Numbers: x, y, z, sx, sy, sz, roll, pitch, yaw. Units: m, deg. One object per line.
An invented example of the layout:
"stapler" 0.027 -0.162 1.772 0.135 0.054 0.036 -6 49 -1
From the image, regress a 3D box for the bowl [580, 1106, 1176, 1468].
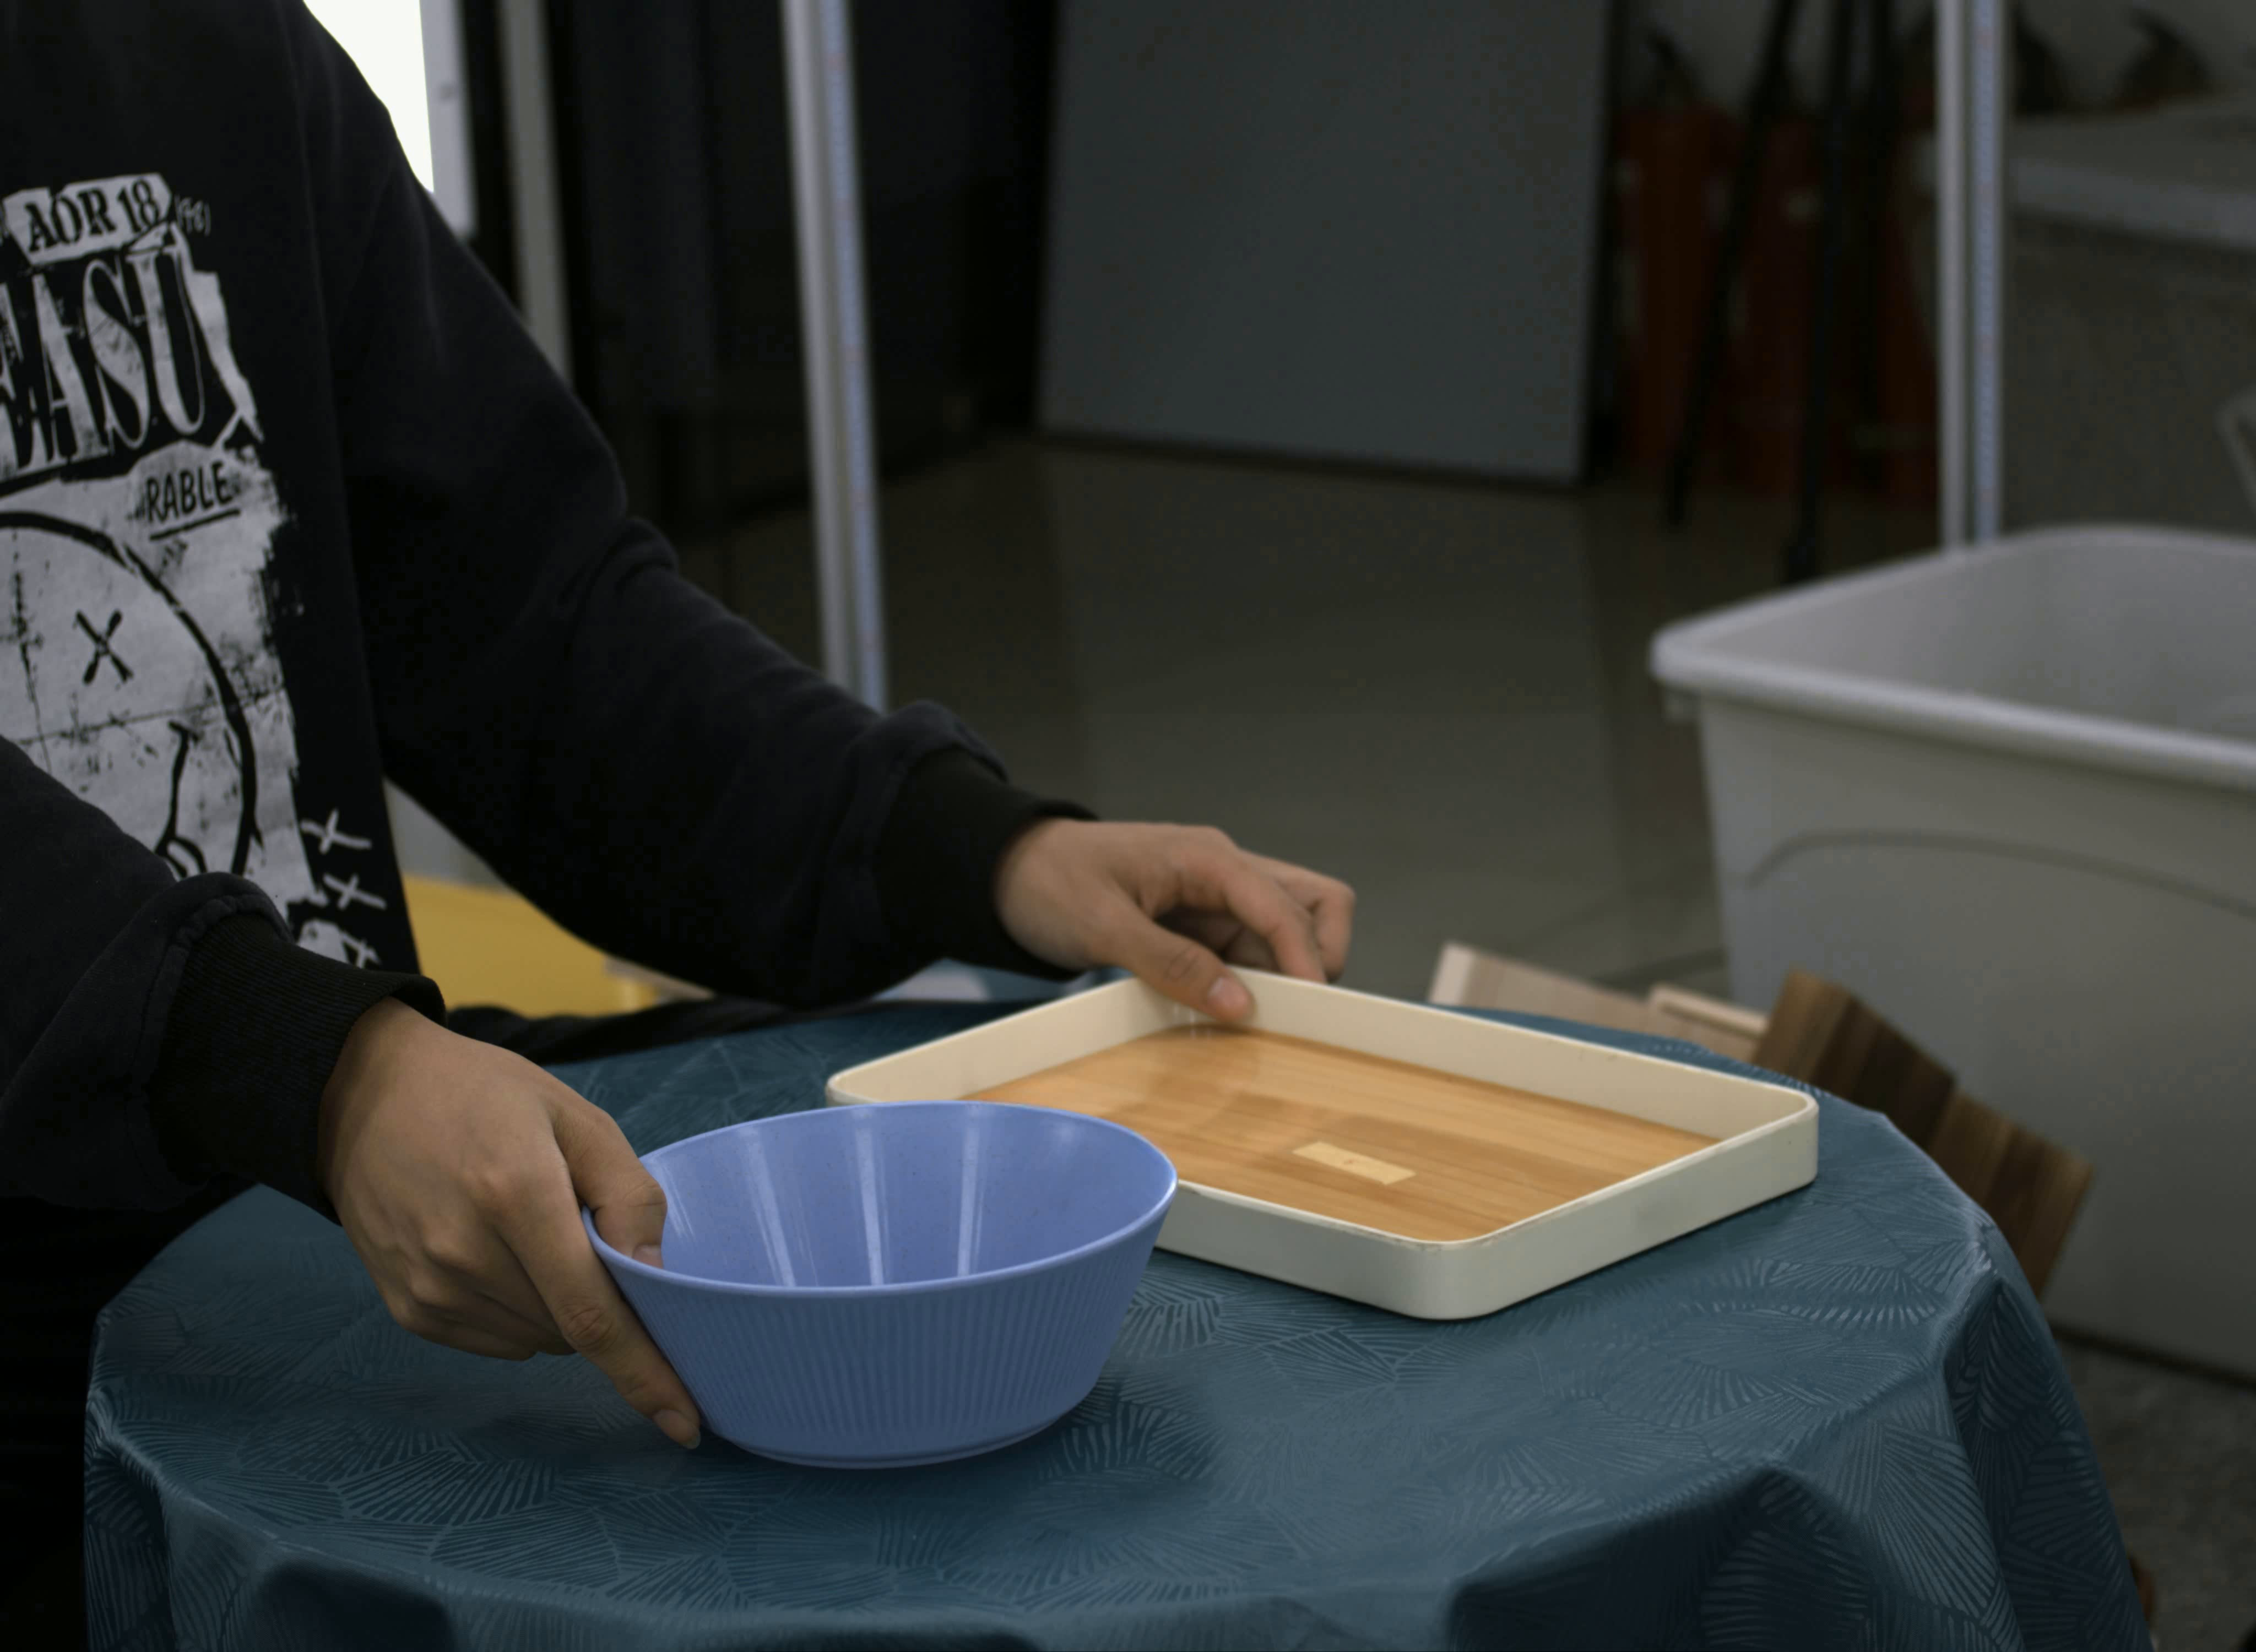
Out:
"bowl" -0.071 0.137 1.579 0.174 0.071 0.176 -3 14 0

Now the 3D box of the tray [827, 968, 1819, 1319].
"tray" 0.061 0.101 1.781 0.187 0.028 0.303 -16 18 -41
